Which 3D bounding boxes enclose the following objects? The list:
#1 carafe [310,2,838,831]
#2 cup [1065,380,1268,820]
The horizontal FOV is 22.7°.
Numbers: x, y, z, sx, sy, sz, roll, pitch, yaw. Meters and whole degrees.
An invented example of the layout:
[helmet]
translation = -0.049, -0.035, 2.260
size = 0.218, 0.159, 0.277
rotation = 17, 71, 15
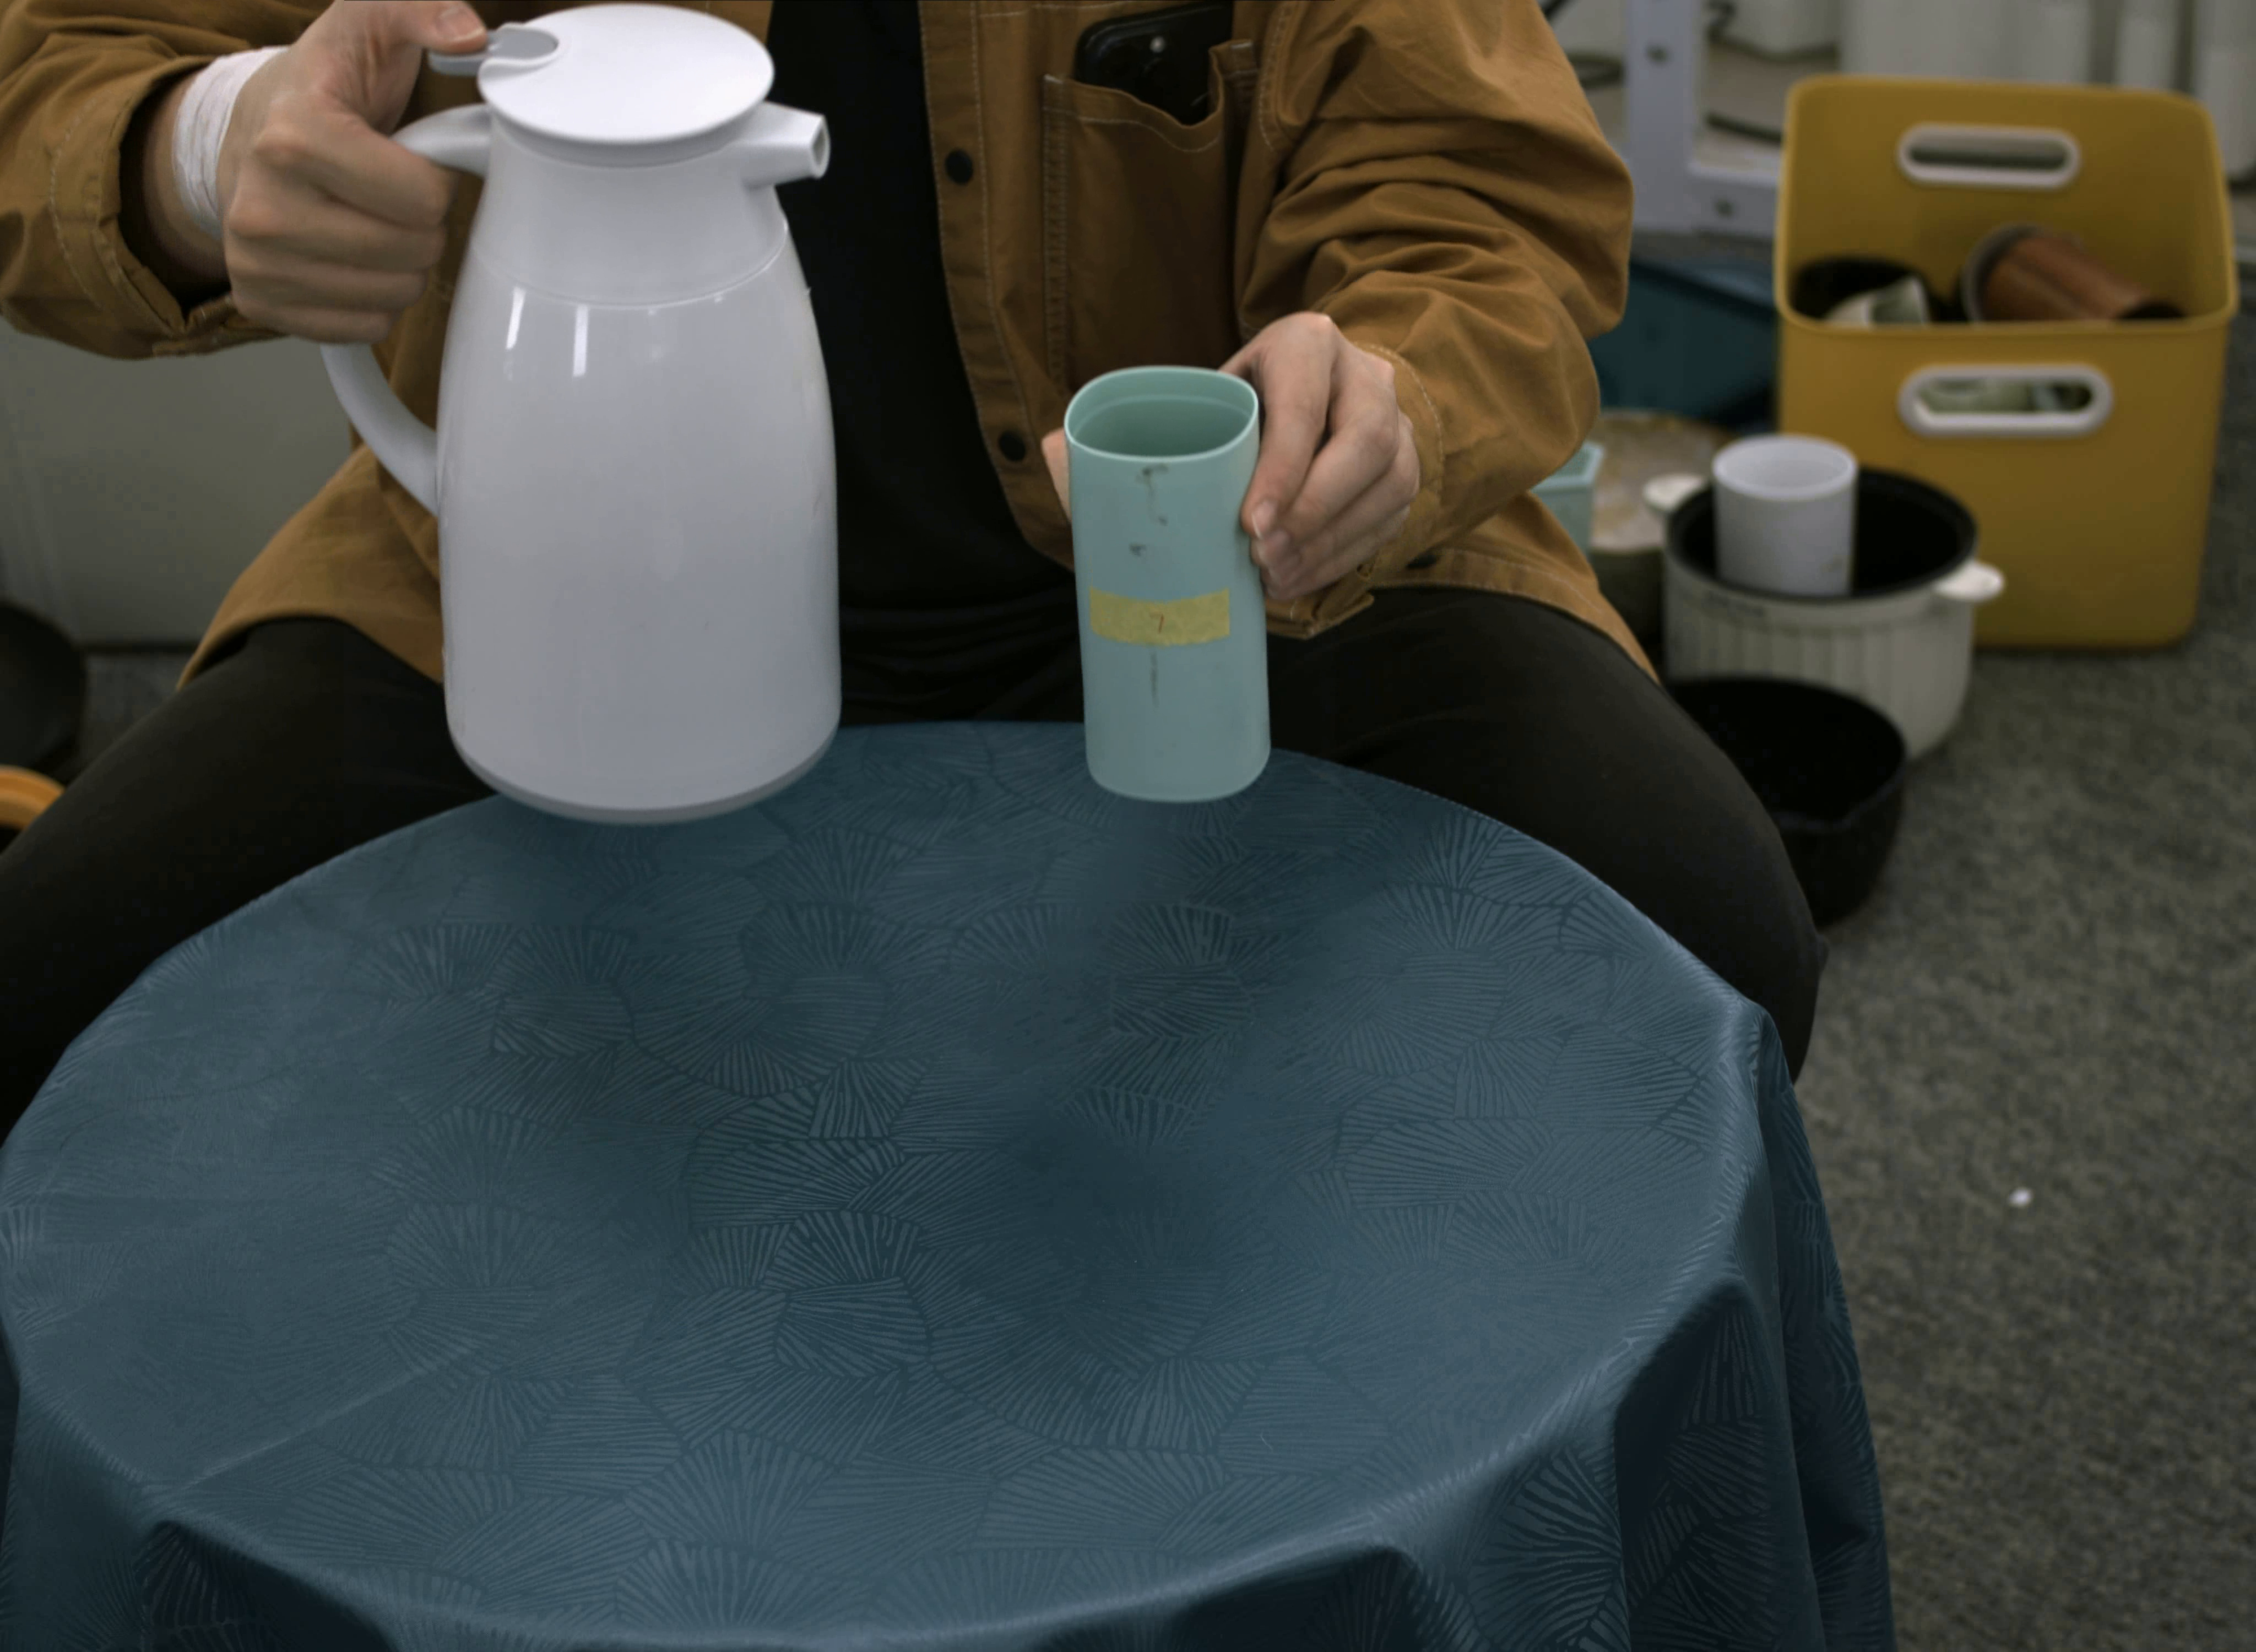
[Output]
[carafe]
translation = -0.178, -0.139, 1.808
size = 0.167, 0.245, 0.135
rotation = 6, 33, 7
[cup]
translation = 0.014, -0.075, 1.849
size = 0.066, 0.130, 0.068
rotation = -2, 32, 1
